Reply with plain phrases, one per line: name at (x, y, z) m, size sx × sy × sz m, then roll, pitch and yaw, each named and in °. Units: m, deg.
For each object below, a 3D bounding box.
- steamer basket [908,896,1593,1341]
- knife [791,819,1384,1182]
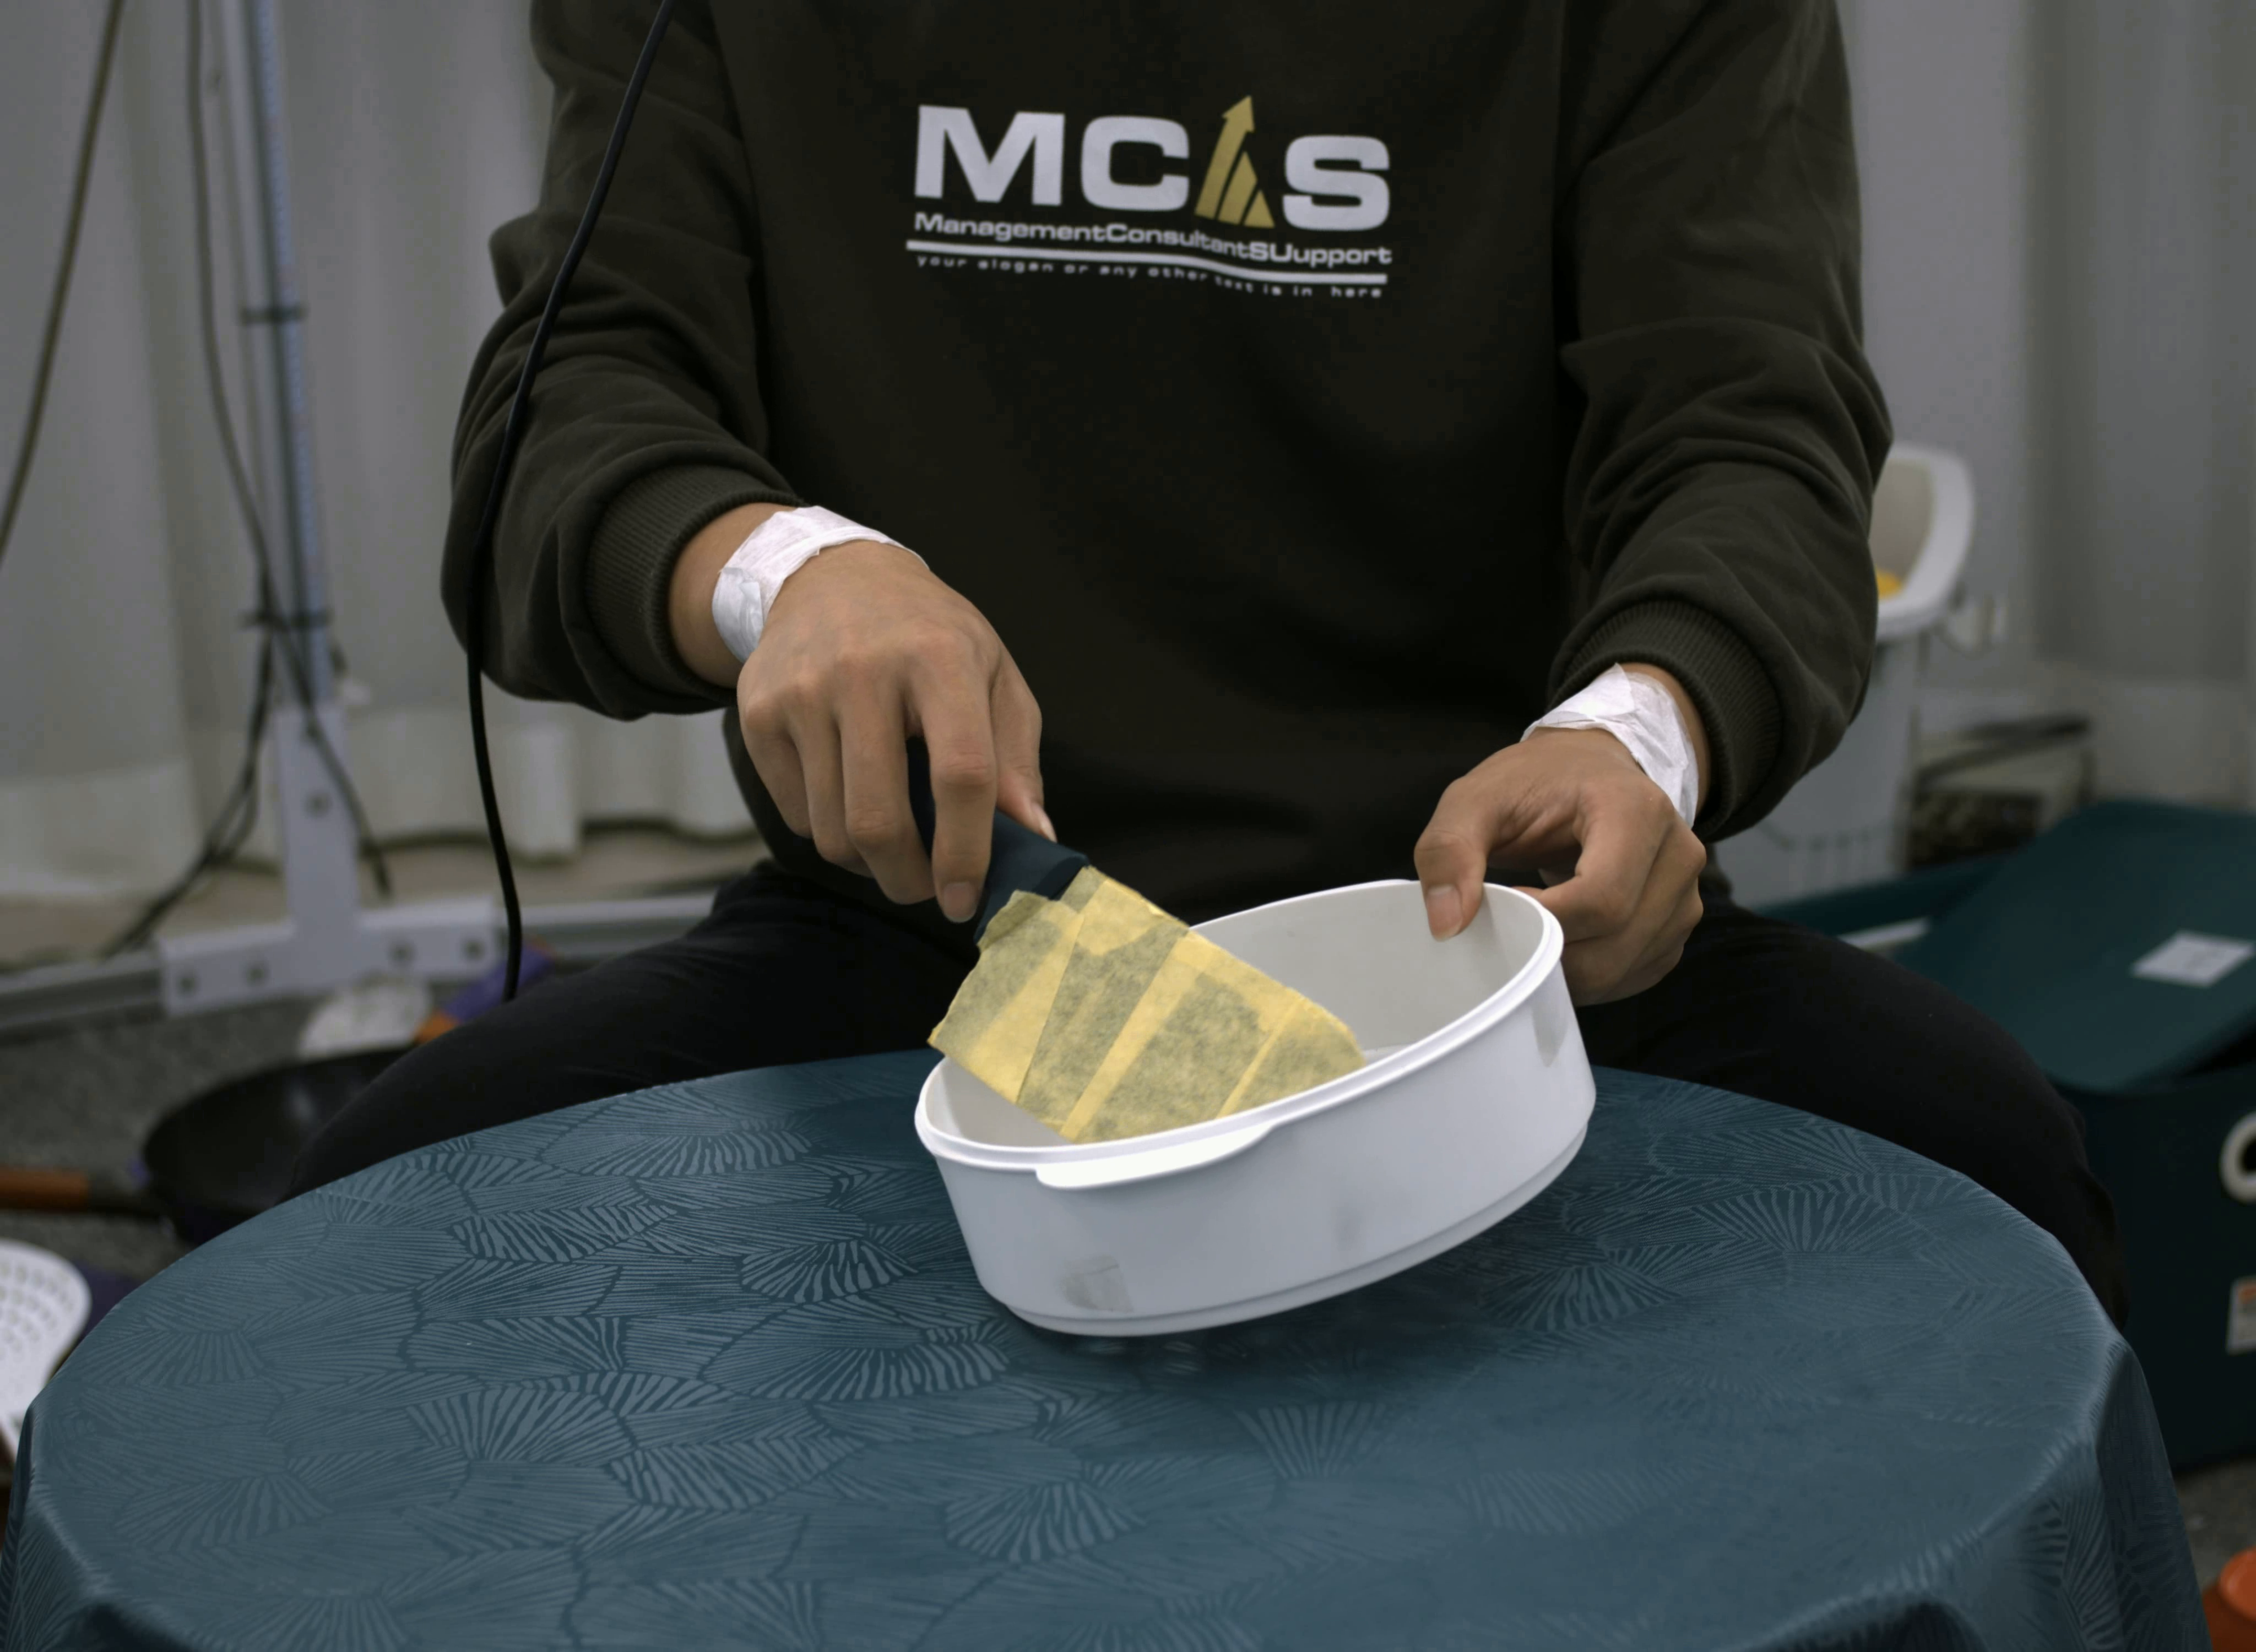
steamer basket at (0.039, 0.087, 1.622) m, size 0.201 × 0.069 × 0.232 m, roll -11°, pitch 14°, yaw 21°
knife at (-0.020, 0.054, 1.645) m, size 0.081 × 0.027 × 0.292 m, roll -45°, pitch 39°, yaw -17°
